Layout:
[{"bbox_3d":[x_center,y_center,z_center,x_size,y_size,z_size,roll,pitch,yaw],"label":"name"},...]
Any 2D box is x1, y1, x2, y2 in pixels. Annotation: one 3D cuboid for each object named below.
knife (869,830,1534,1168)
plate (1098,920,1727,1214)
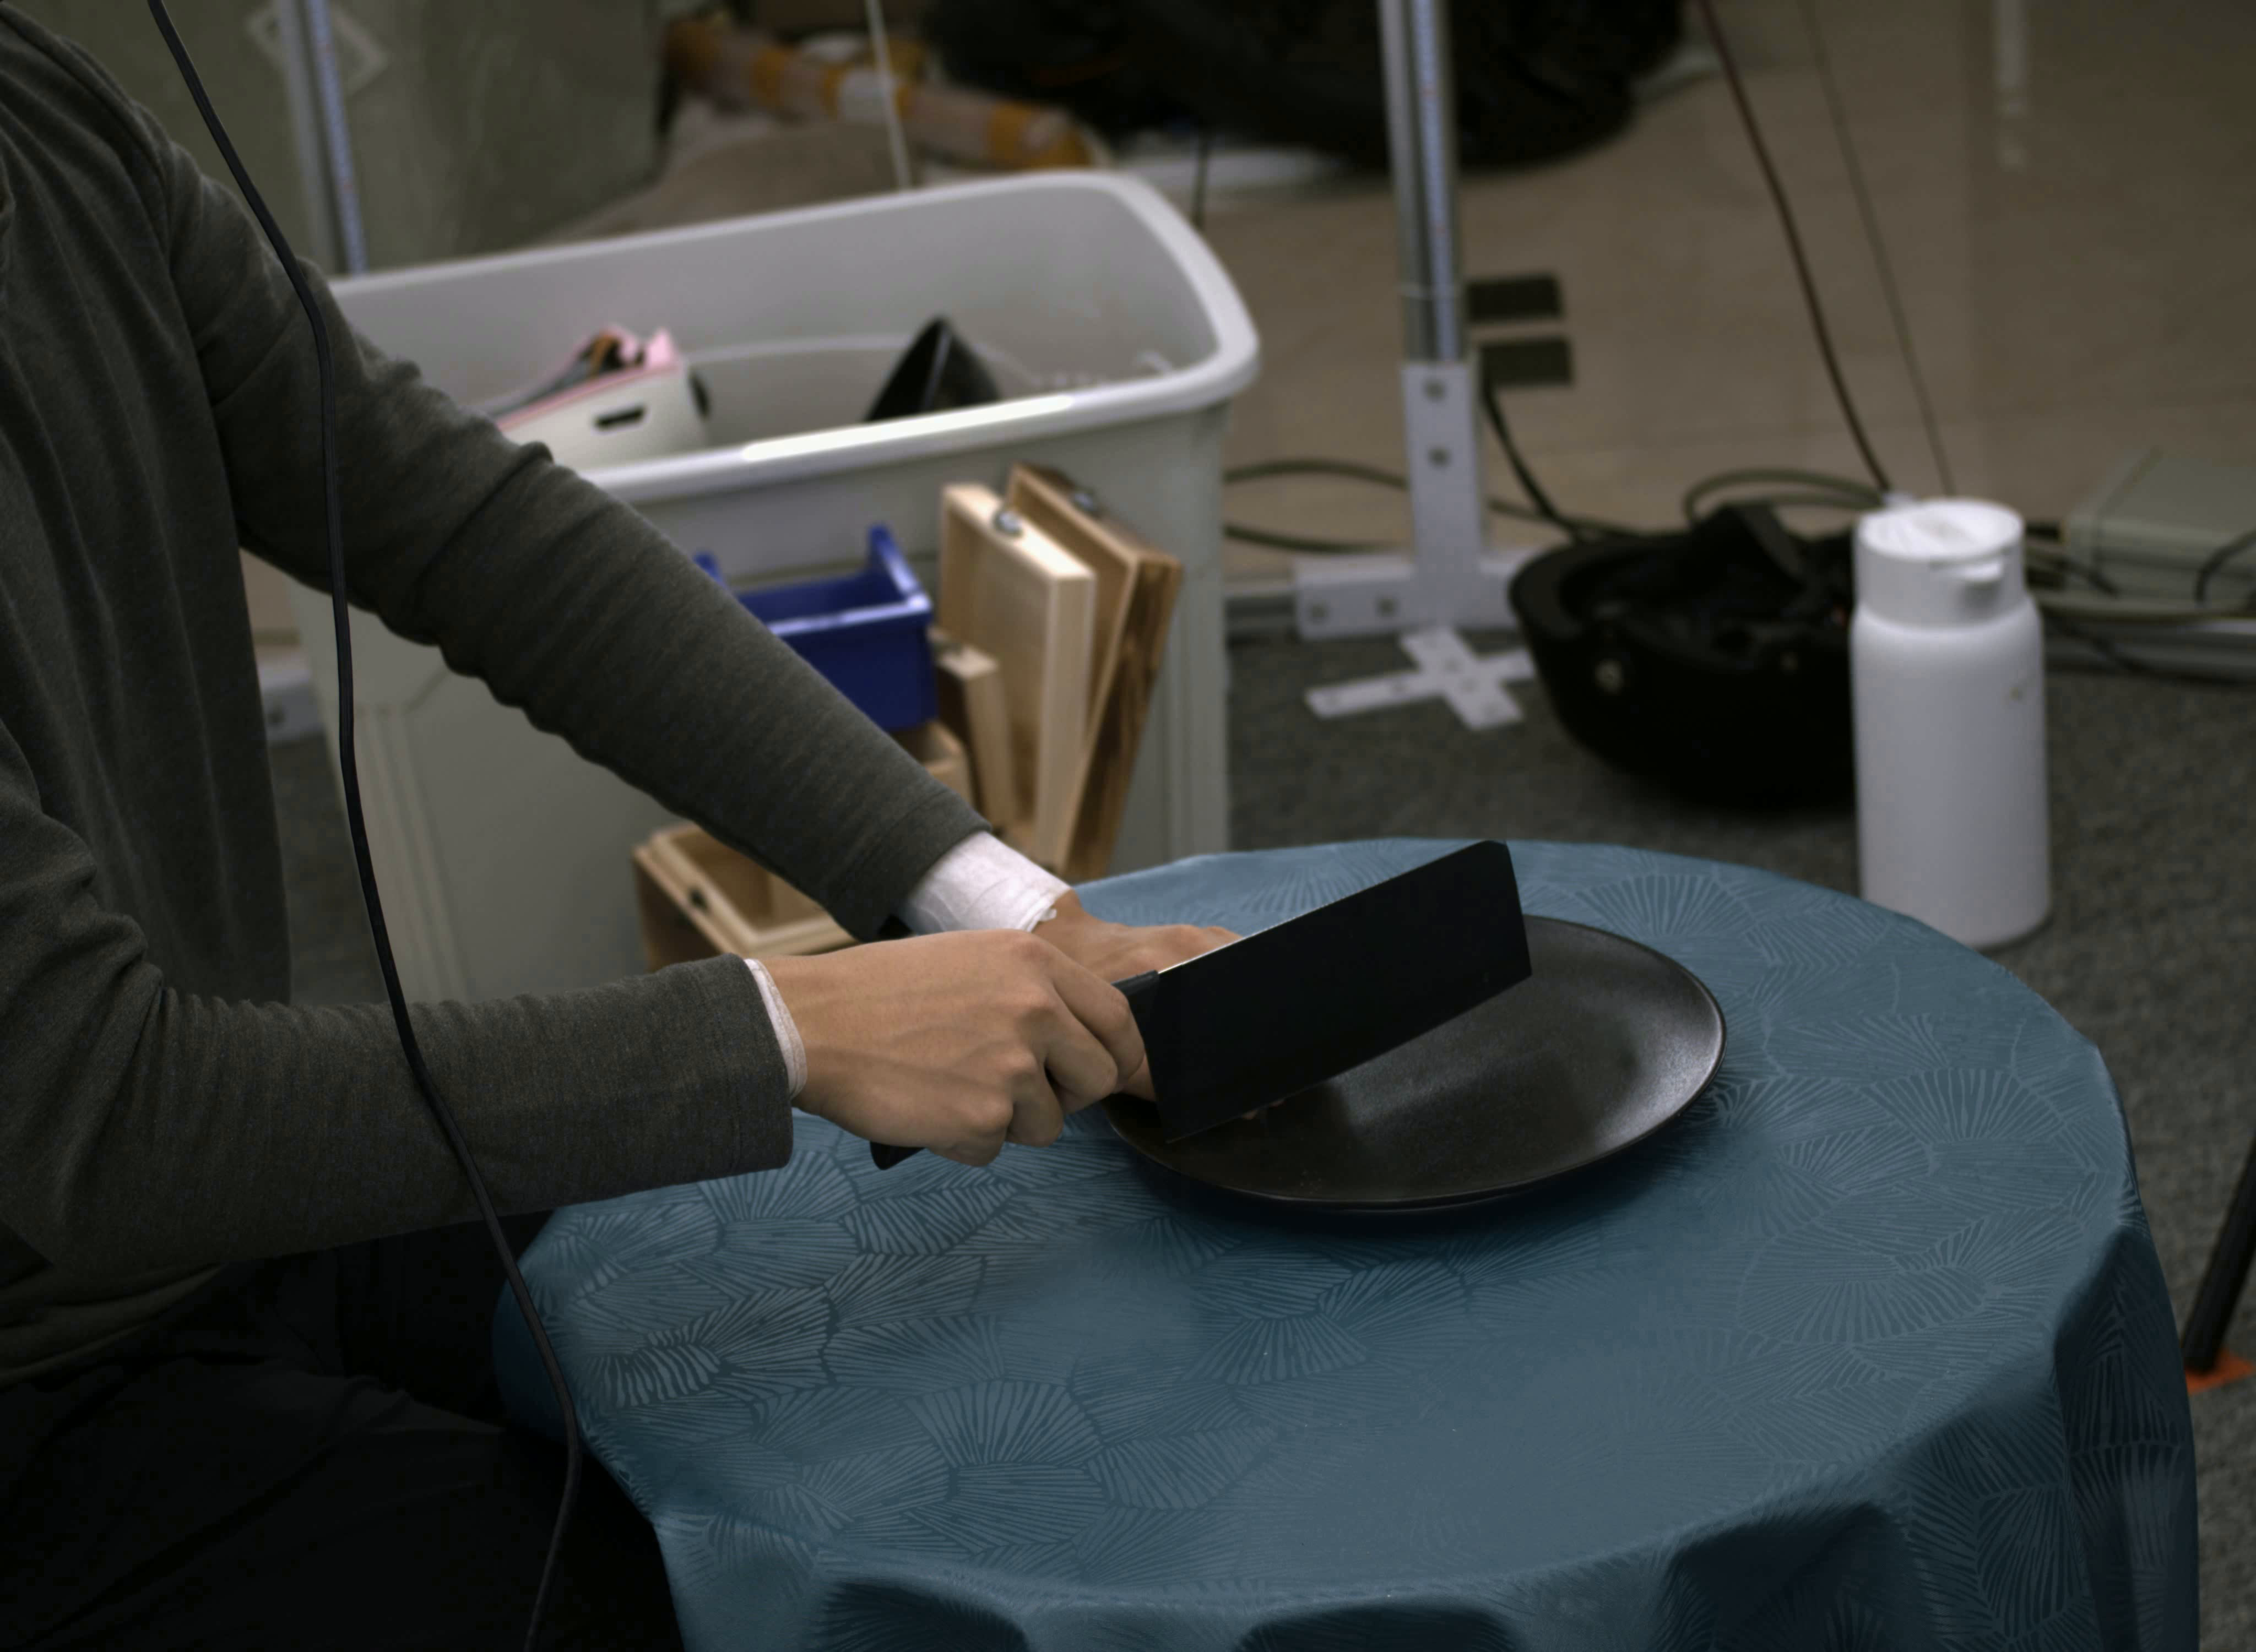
[{"bbox_3d":[0.032,0.075,2.140,0.301,0.082,0.021,-17,17,-30],"label":"knife"},{"bbox_3d":[0.110,0.096,2.189,0.244,0.024,0.241,-5,25,2],"label":"plate"}]
